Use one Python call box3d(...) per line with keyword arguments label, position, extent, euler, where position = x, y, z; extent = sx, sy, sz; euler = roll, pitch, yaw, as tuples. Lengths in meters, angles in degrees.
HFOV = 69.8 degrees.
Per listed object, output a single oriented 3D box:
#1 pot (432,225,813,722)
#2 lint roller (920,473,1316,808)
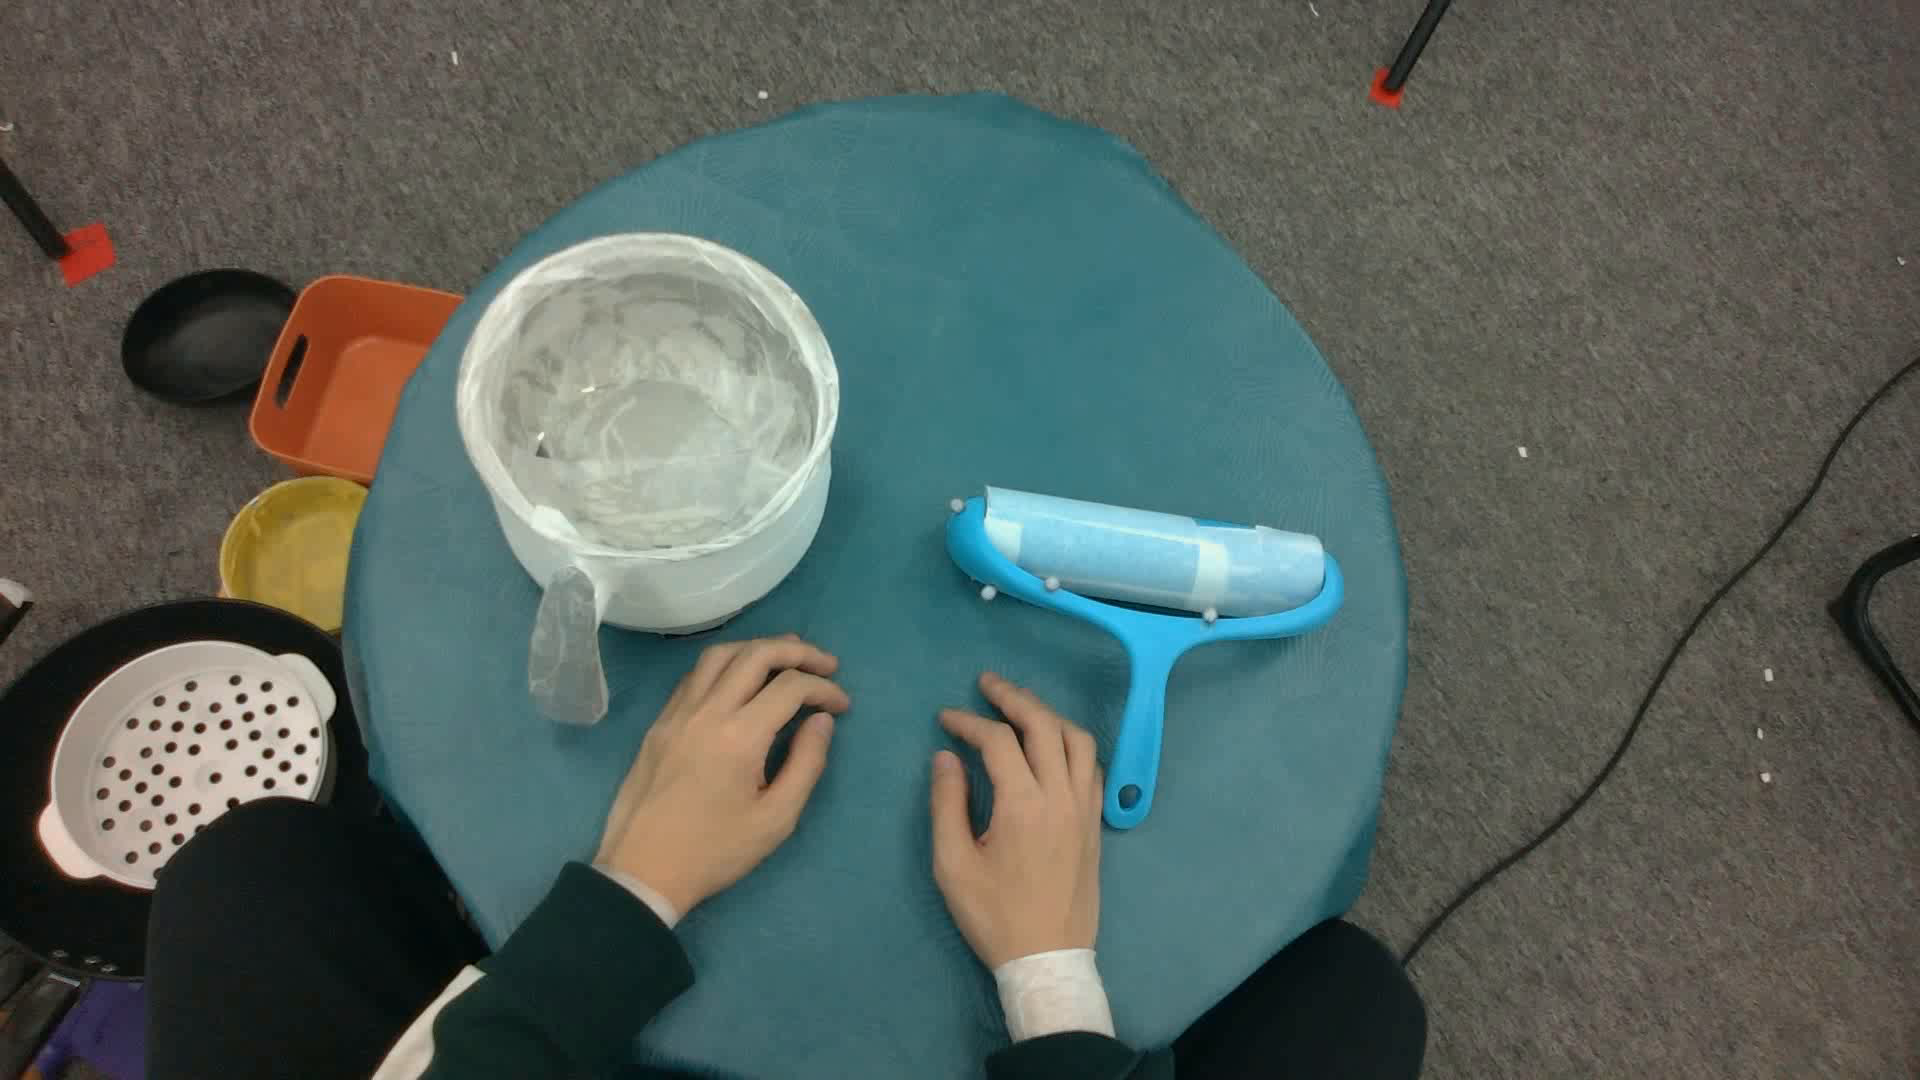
box3d(label="pot", position=(-0.175, -0.027, 0.703), extent=(0.179, 0.136, 0.234), euler=(16, 66, -3))
box3d(label="lint roller", position=(0.091, 0.053, 0.761), extent=(0.229, 0.067, 0.181), euler=(4, 67, -10))
